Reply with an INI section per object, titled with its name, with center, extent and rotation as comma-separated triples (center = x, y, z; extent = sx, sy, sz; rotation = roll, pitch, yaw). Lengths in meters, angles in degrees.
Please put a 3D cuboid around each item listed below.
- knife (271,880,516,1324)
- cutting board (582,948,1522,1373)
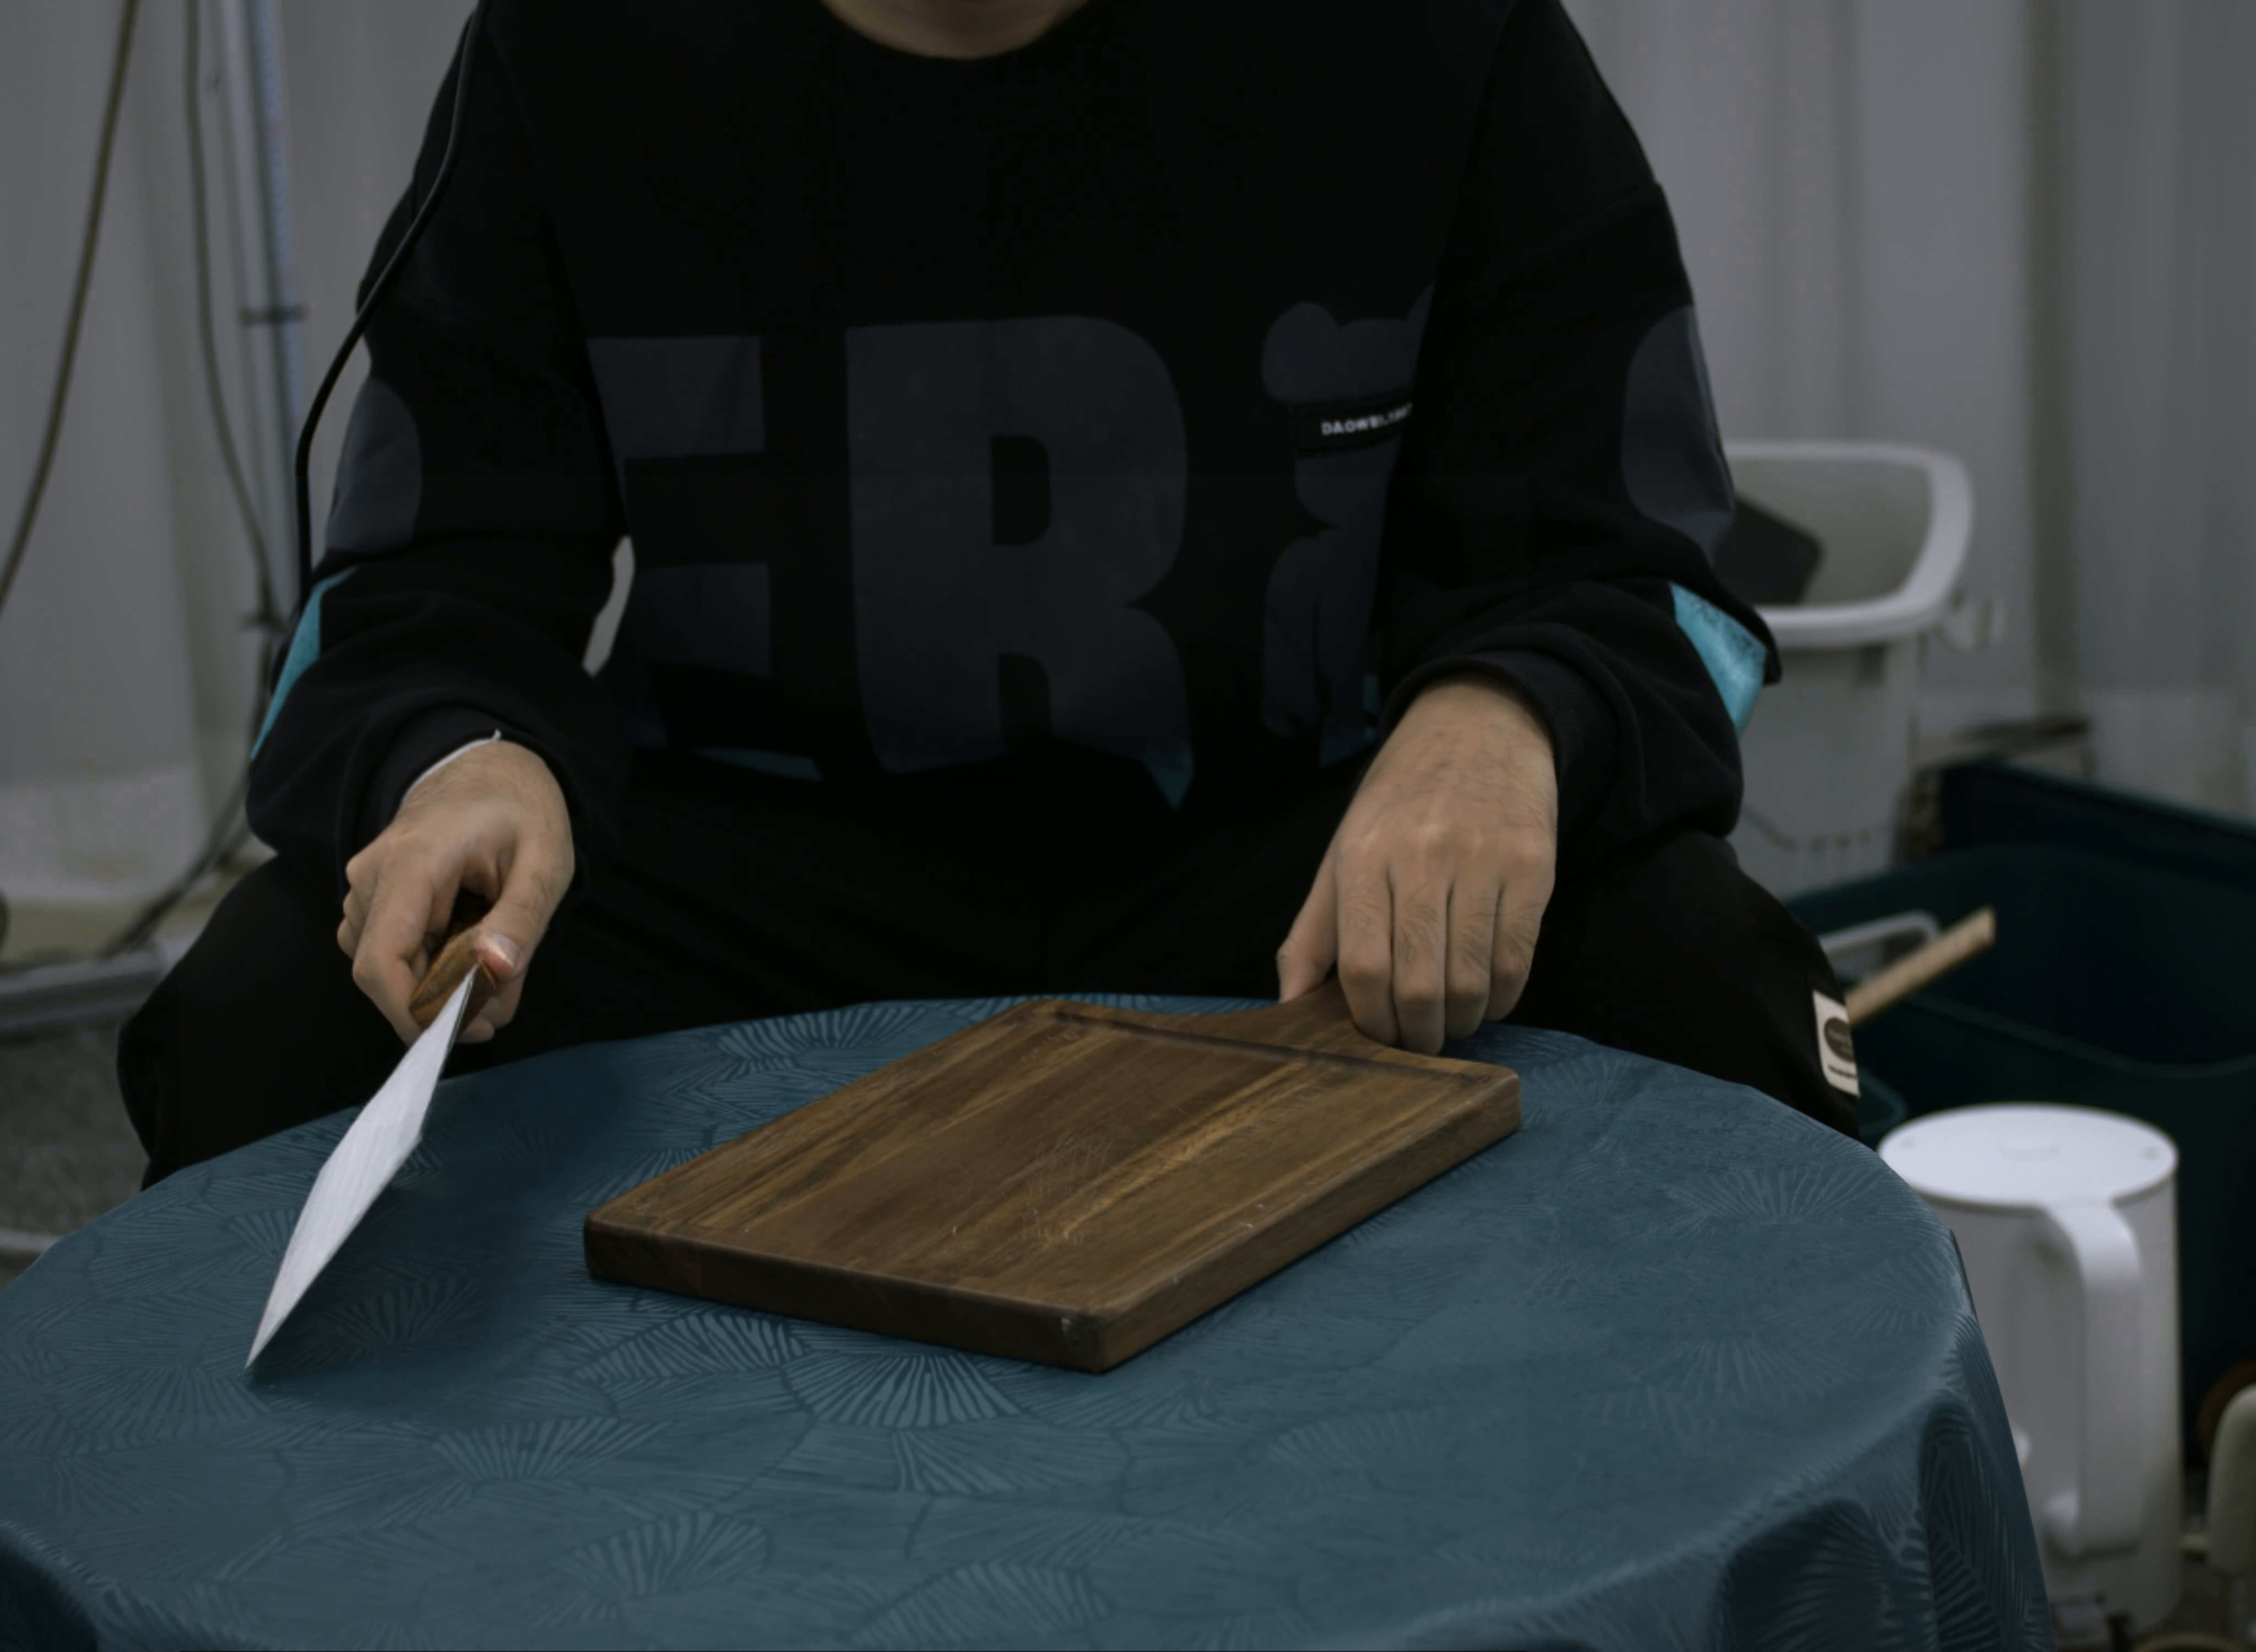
[knife]
center = -0.233, 0.087, 1.725
extent = 0.021, 0.093, 0.308
rotation = 36, 10, -10
[cutting board]
center = 0.007, 0.096, 1.745
extent = 0.202, 0.023, 0.352
rotation = 7, 18, 32
